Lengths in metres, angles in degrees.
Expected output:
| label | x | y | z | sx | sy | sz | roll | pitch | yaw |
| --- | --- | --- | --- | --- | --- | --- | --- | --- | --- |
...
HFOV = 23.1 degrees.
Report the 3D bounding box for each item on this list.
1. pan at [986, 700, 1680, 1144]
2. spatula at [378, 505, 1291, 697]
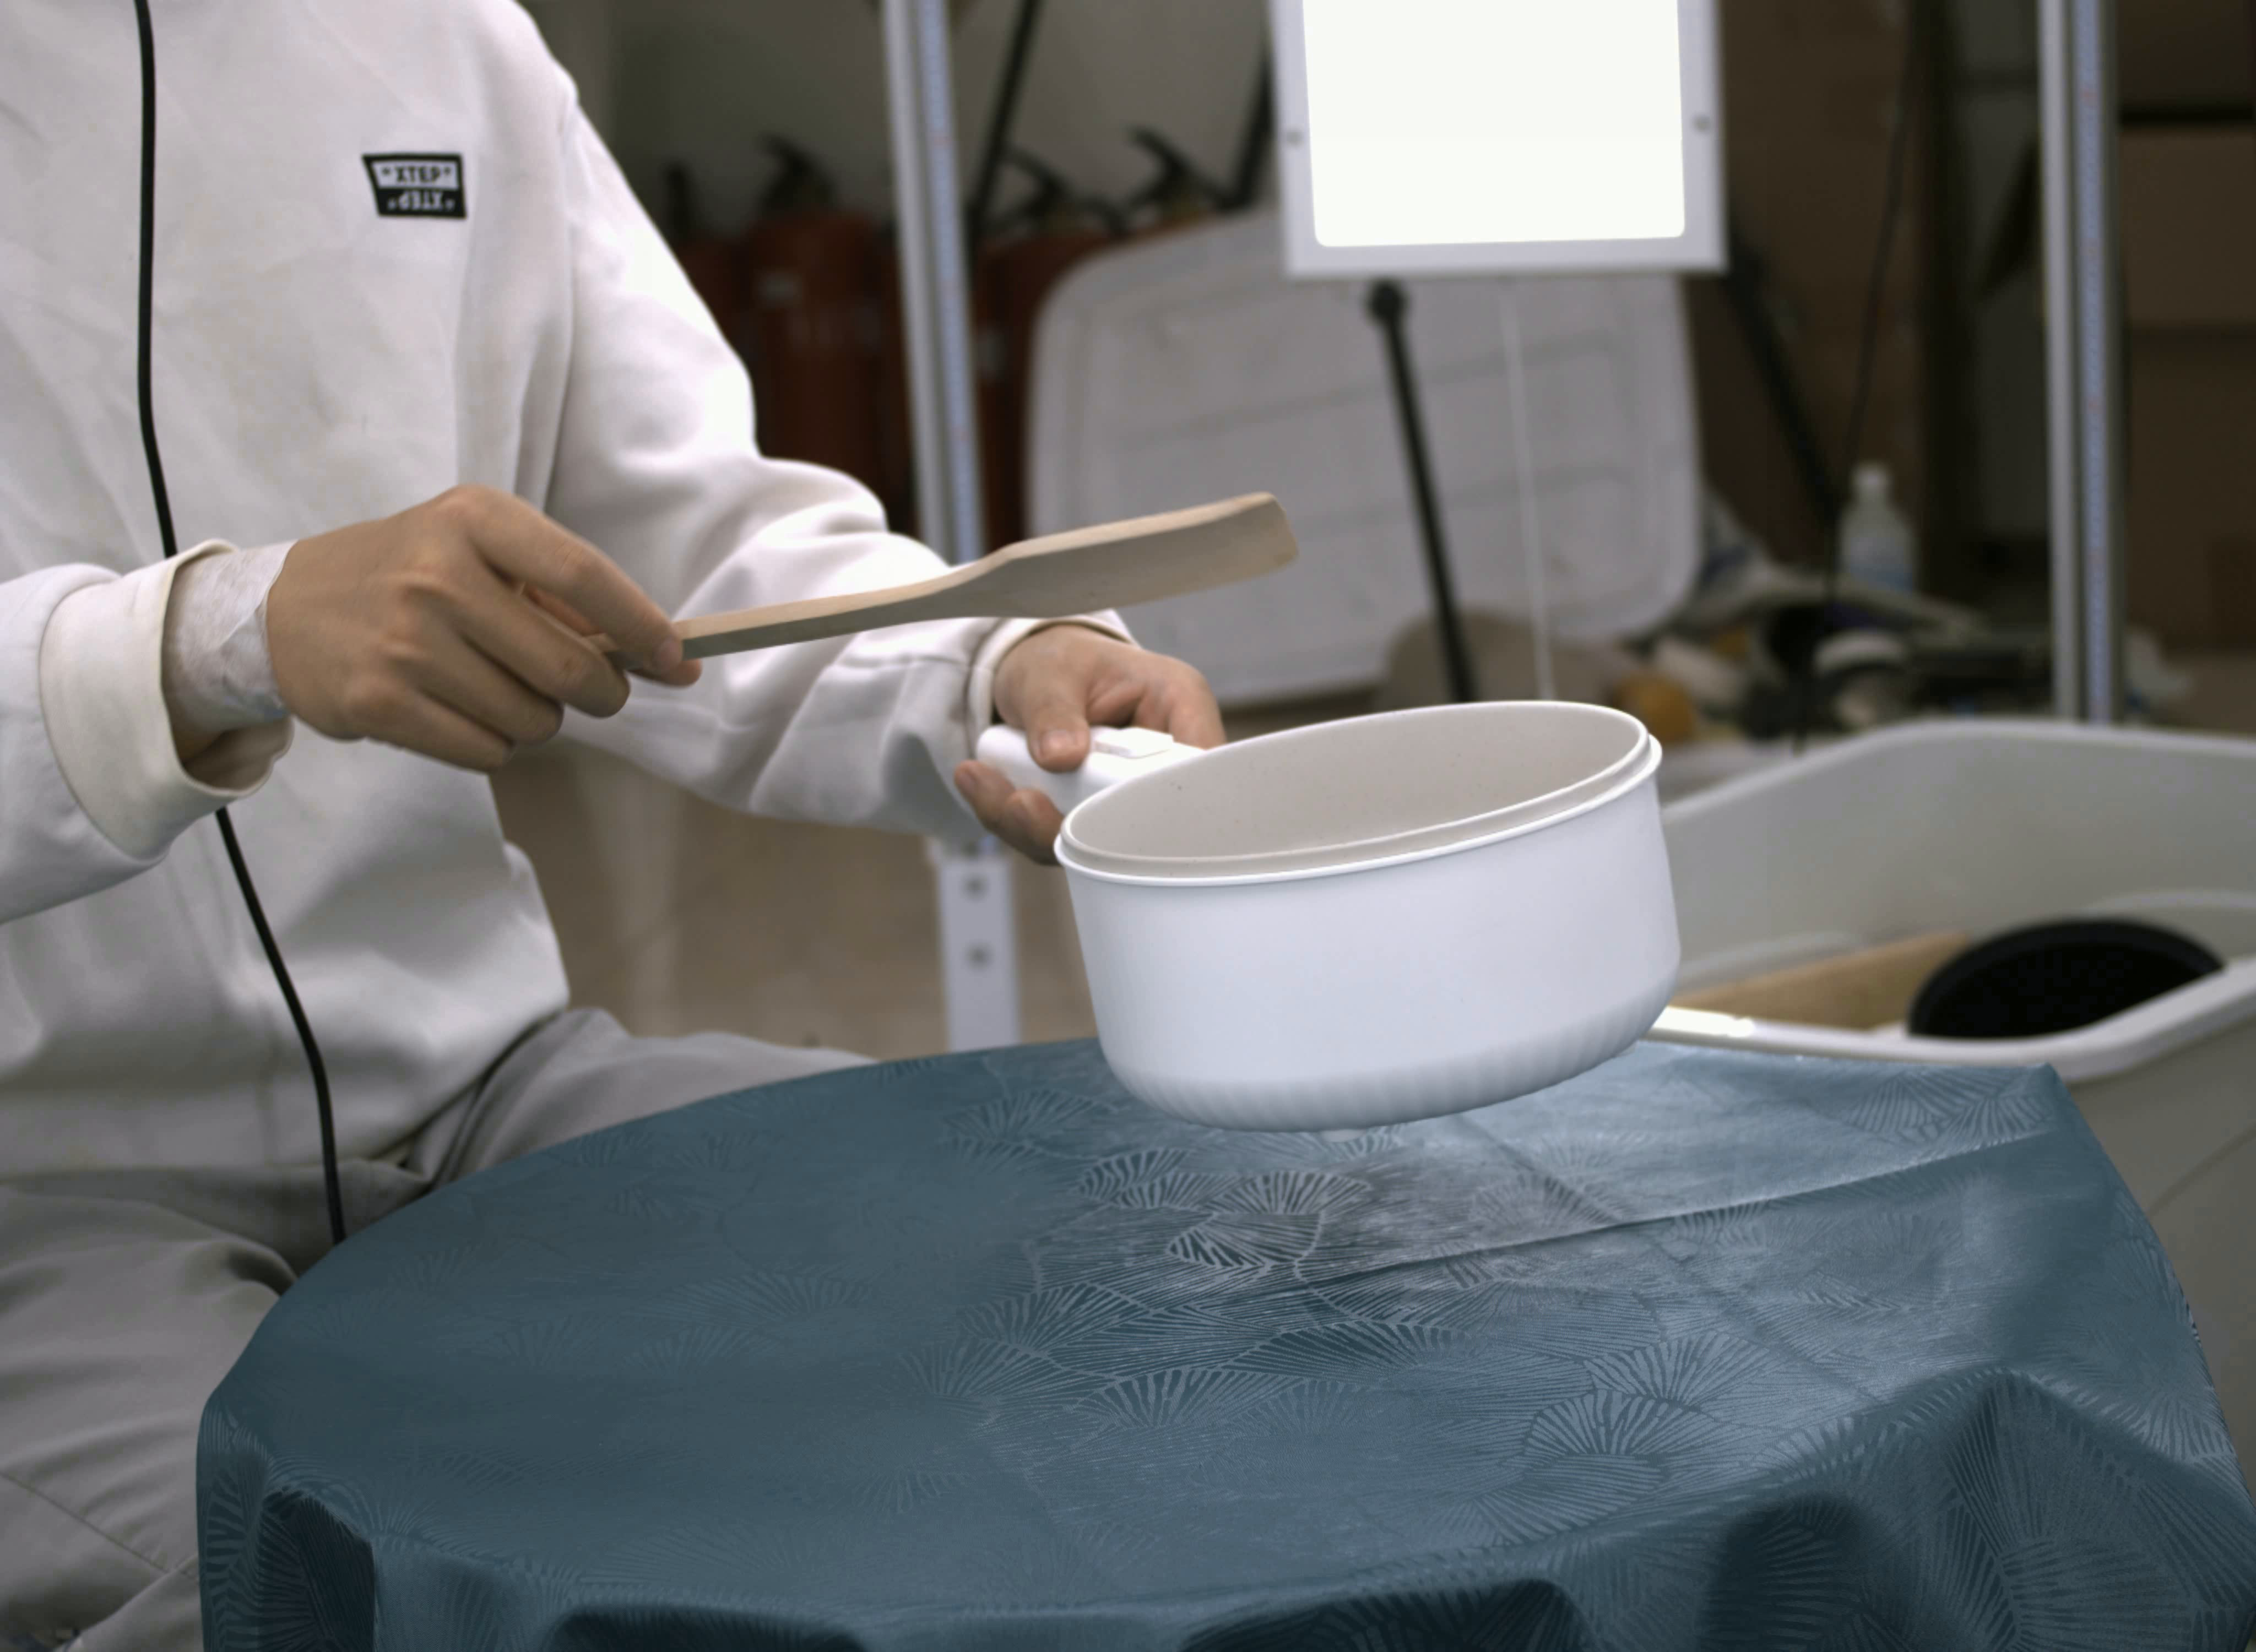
| label | x | y | z | sx | sy | sz | roll | pitch | yaw |
| --- | --- | --- | --- | --- | --- | --- | --- | --- | --- |
| pan | 0.048 | 0.025 | 1.873 | 0.197 | 0.102 | 0.361 | -17 | 13 | -23 |
| spatula | -0.094 | -0.067 | 1.736 | 0.294 | 0.010 | 0.072 | -9 | -14 | 8 |
